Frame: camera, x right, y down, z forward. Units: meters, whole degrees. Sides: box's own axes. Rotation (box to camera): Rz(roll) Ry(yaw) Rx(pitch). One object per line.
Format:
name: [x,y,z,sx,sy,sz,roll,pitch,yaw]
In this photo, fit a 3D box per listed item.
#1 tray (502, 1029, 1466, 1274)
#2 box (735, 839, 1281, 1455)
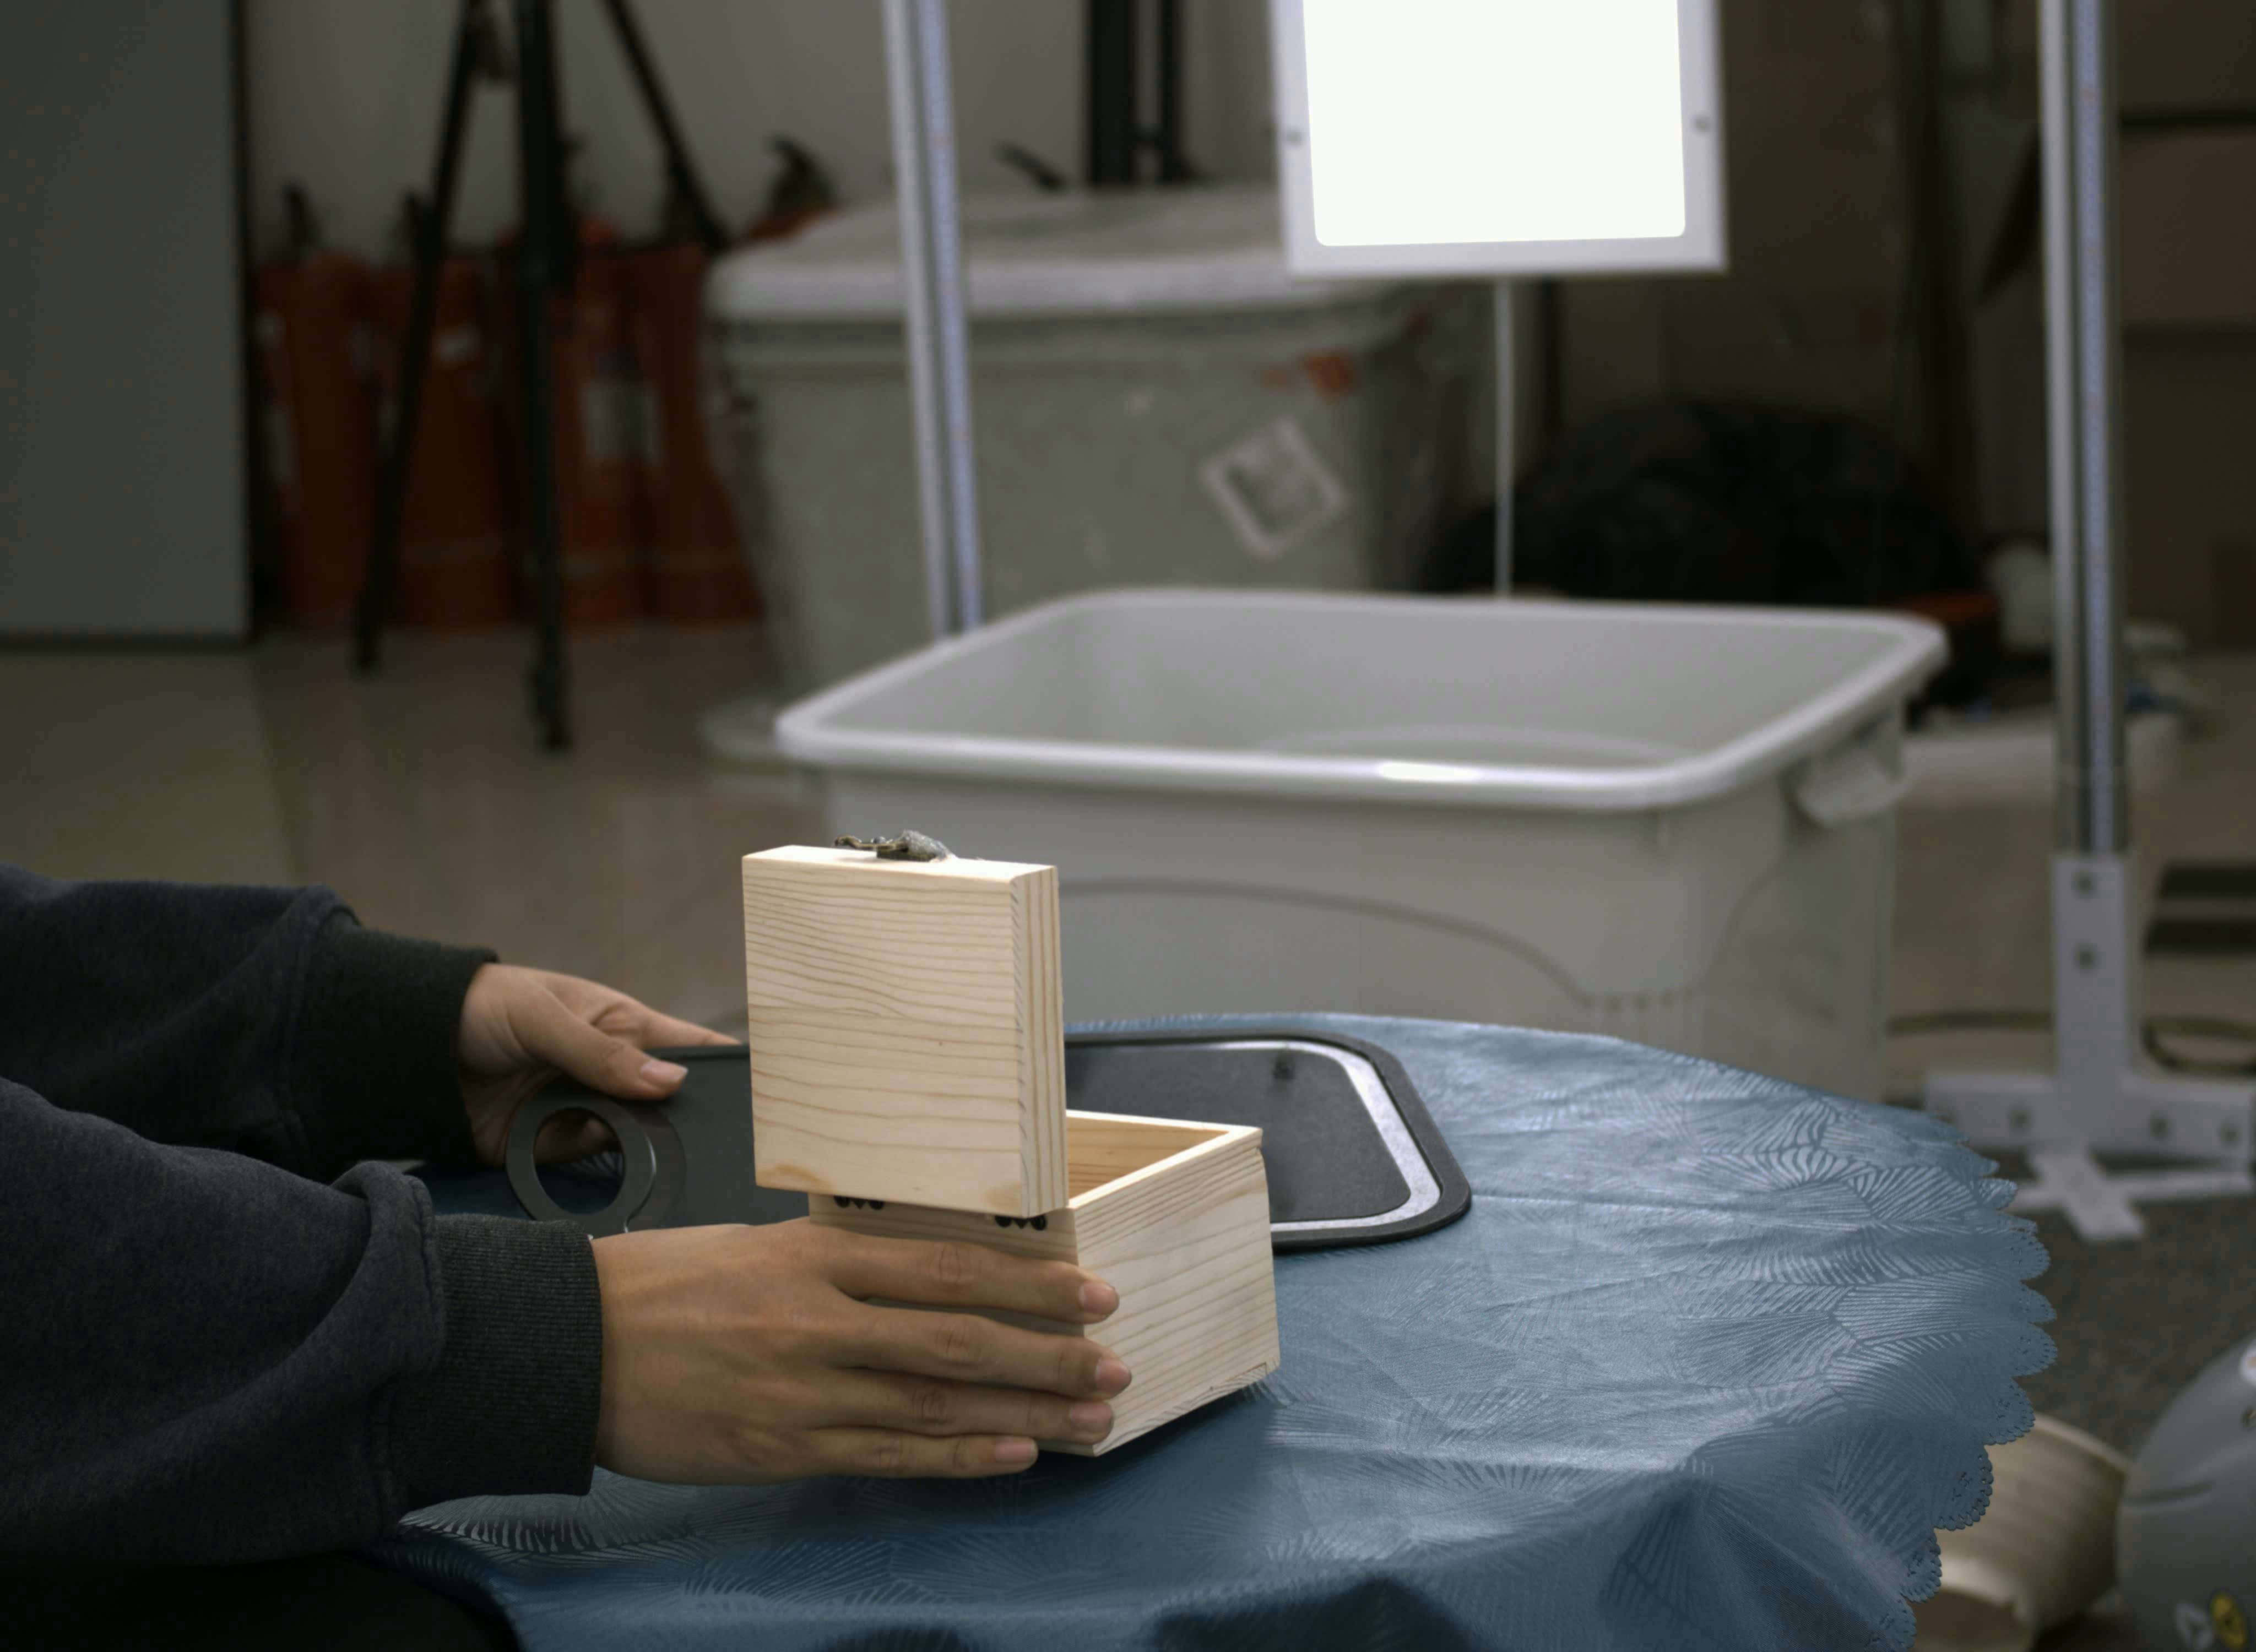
tray: [-0.053,0.109,1.903,0.323,0.010,0.211,-2,18,-5]
box: [-0.034,0.086,1.662,0.105,0.185,0.130,3,14,36]
